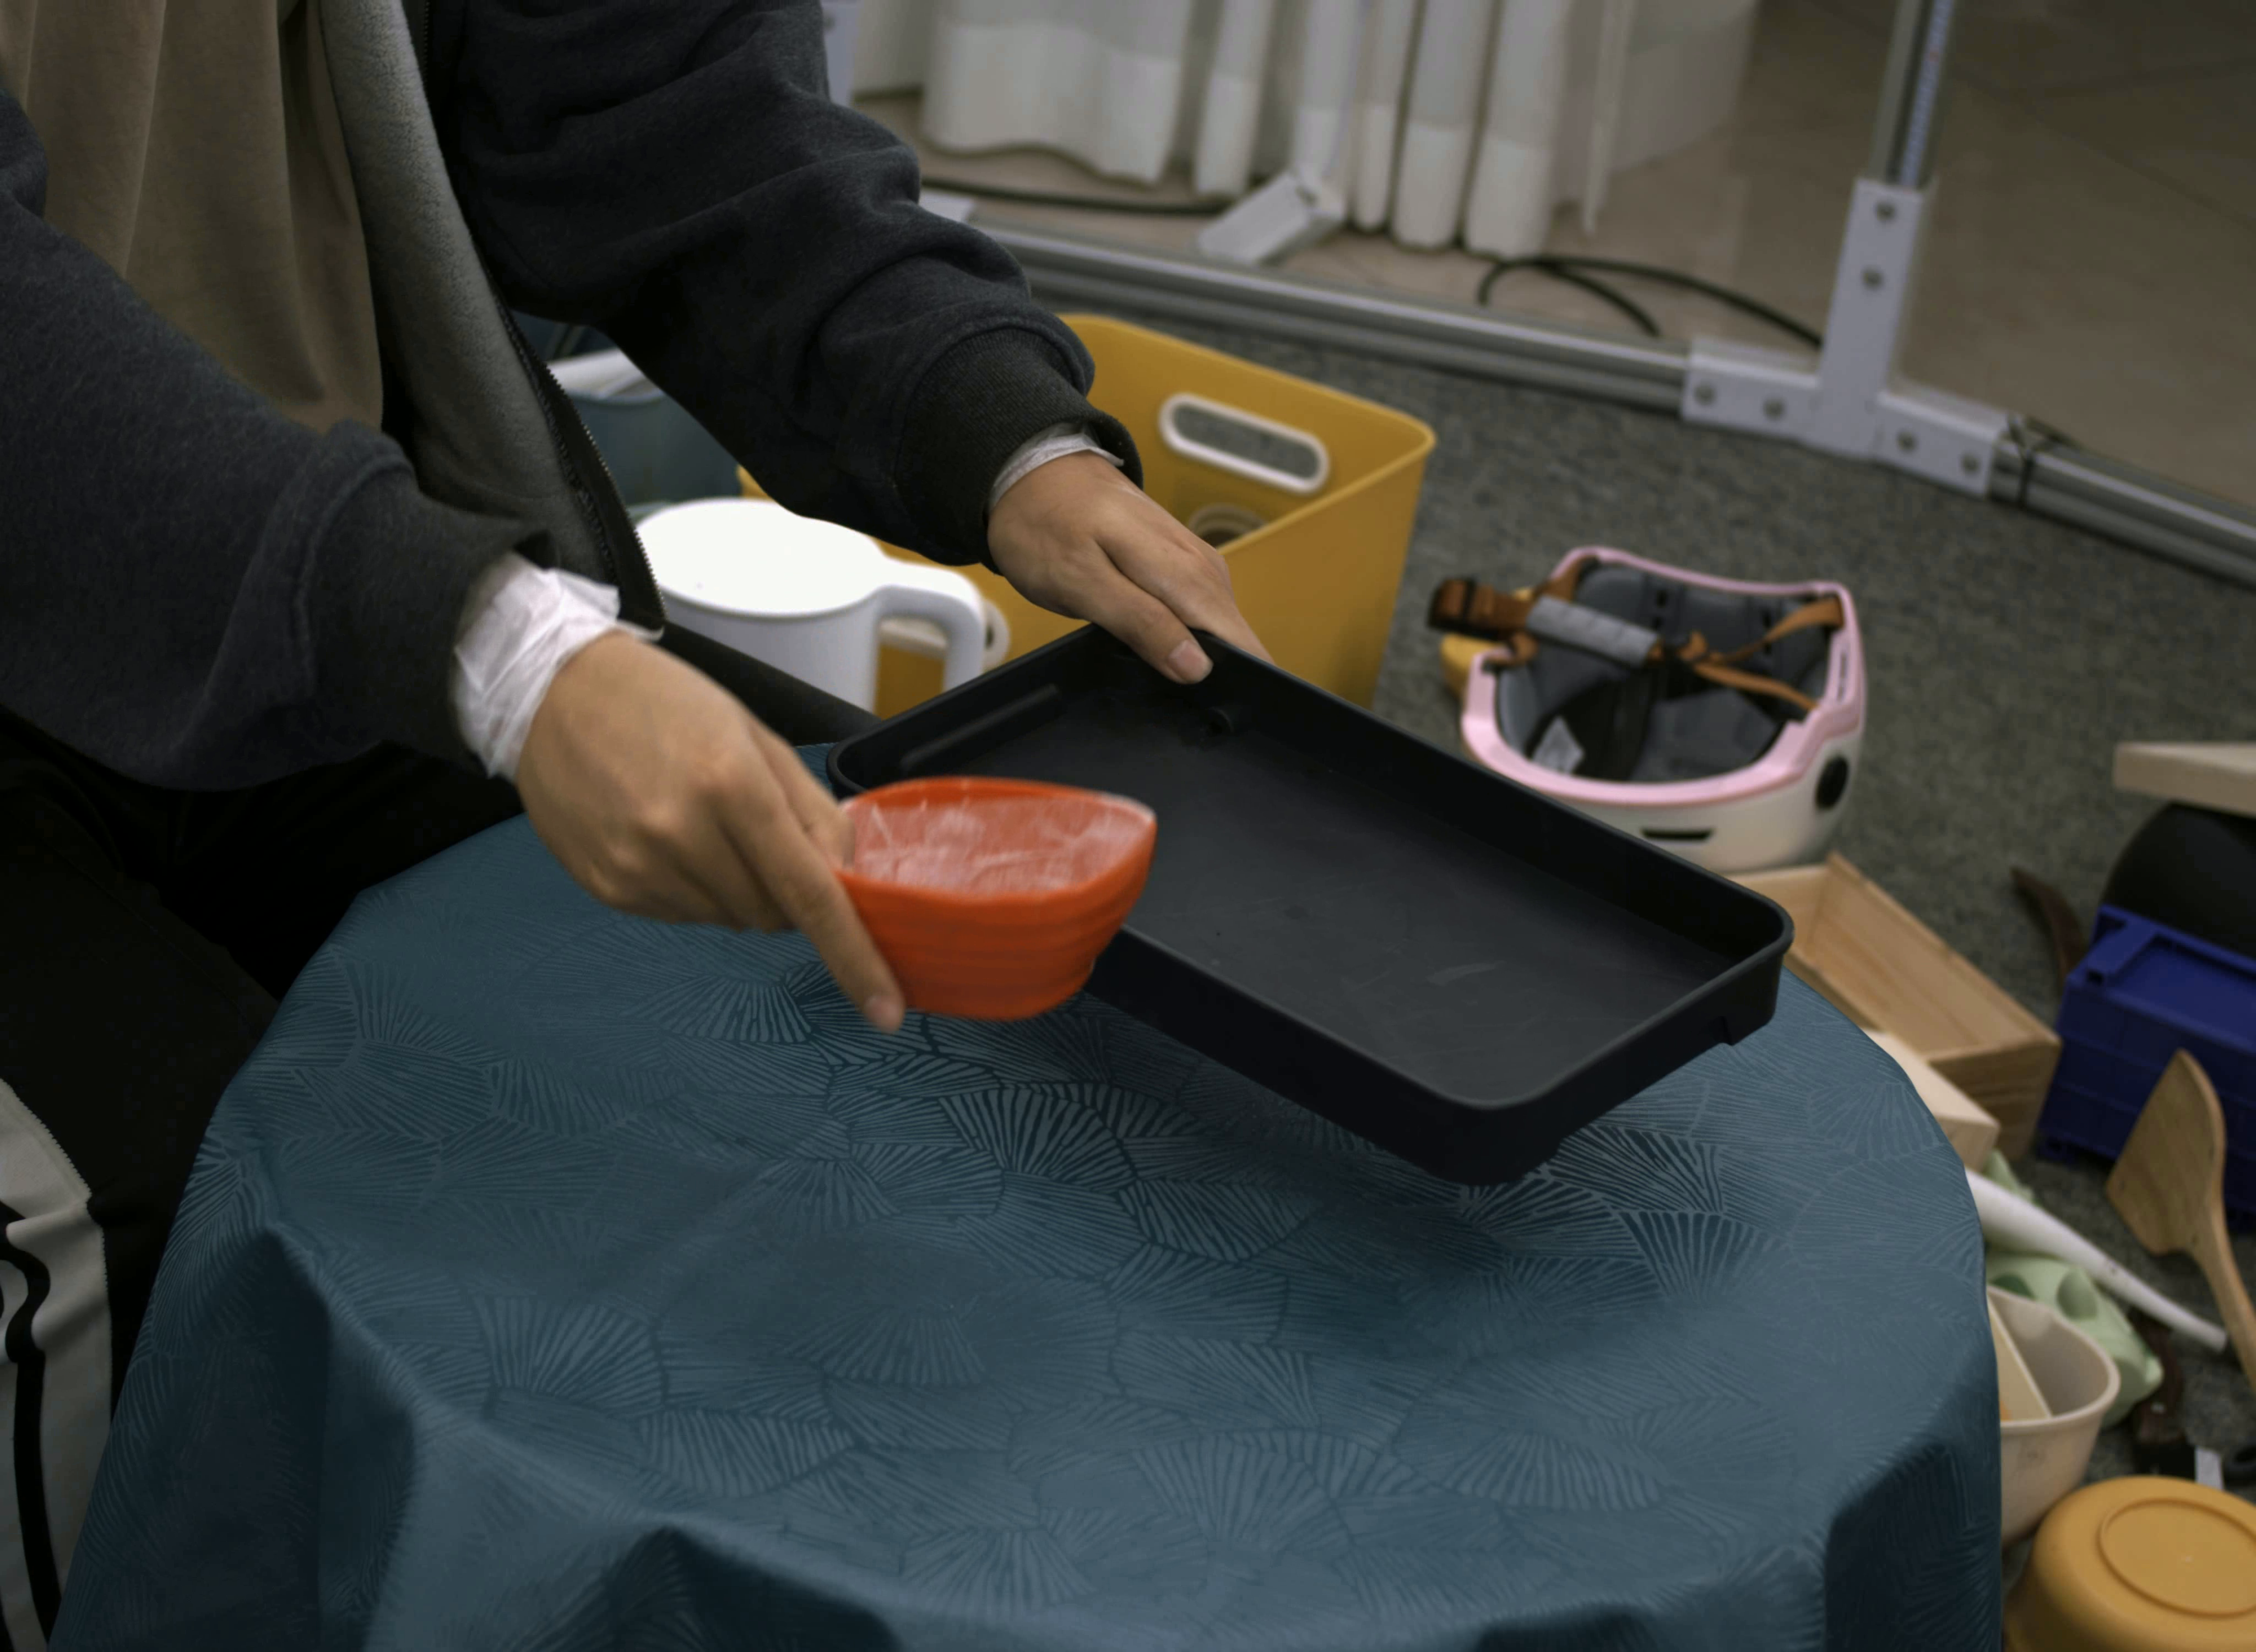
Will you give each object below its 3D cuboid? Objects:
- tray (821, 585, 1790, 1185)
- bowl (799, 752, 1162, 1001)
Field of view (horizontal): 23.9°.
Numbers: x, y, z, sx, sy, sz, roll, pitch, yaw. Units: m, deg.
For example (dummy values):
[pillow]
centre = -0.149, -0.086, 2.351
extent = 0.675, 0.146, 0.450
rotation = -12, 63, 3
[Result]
[tray]
centre = 0.058, 0.015, 1.867
extent = 0.320, 0.037, 0.183
rotation = 29, 37, 32
[bowl]
centre = -0.047, 0.019, 1.702
extent = 0.118, 0.051, 0.119
rotation = 1, 21, -1
